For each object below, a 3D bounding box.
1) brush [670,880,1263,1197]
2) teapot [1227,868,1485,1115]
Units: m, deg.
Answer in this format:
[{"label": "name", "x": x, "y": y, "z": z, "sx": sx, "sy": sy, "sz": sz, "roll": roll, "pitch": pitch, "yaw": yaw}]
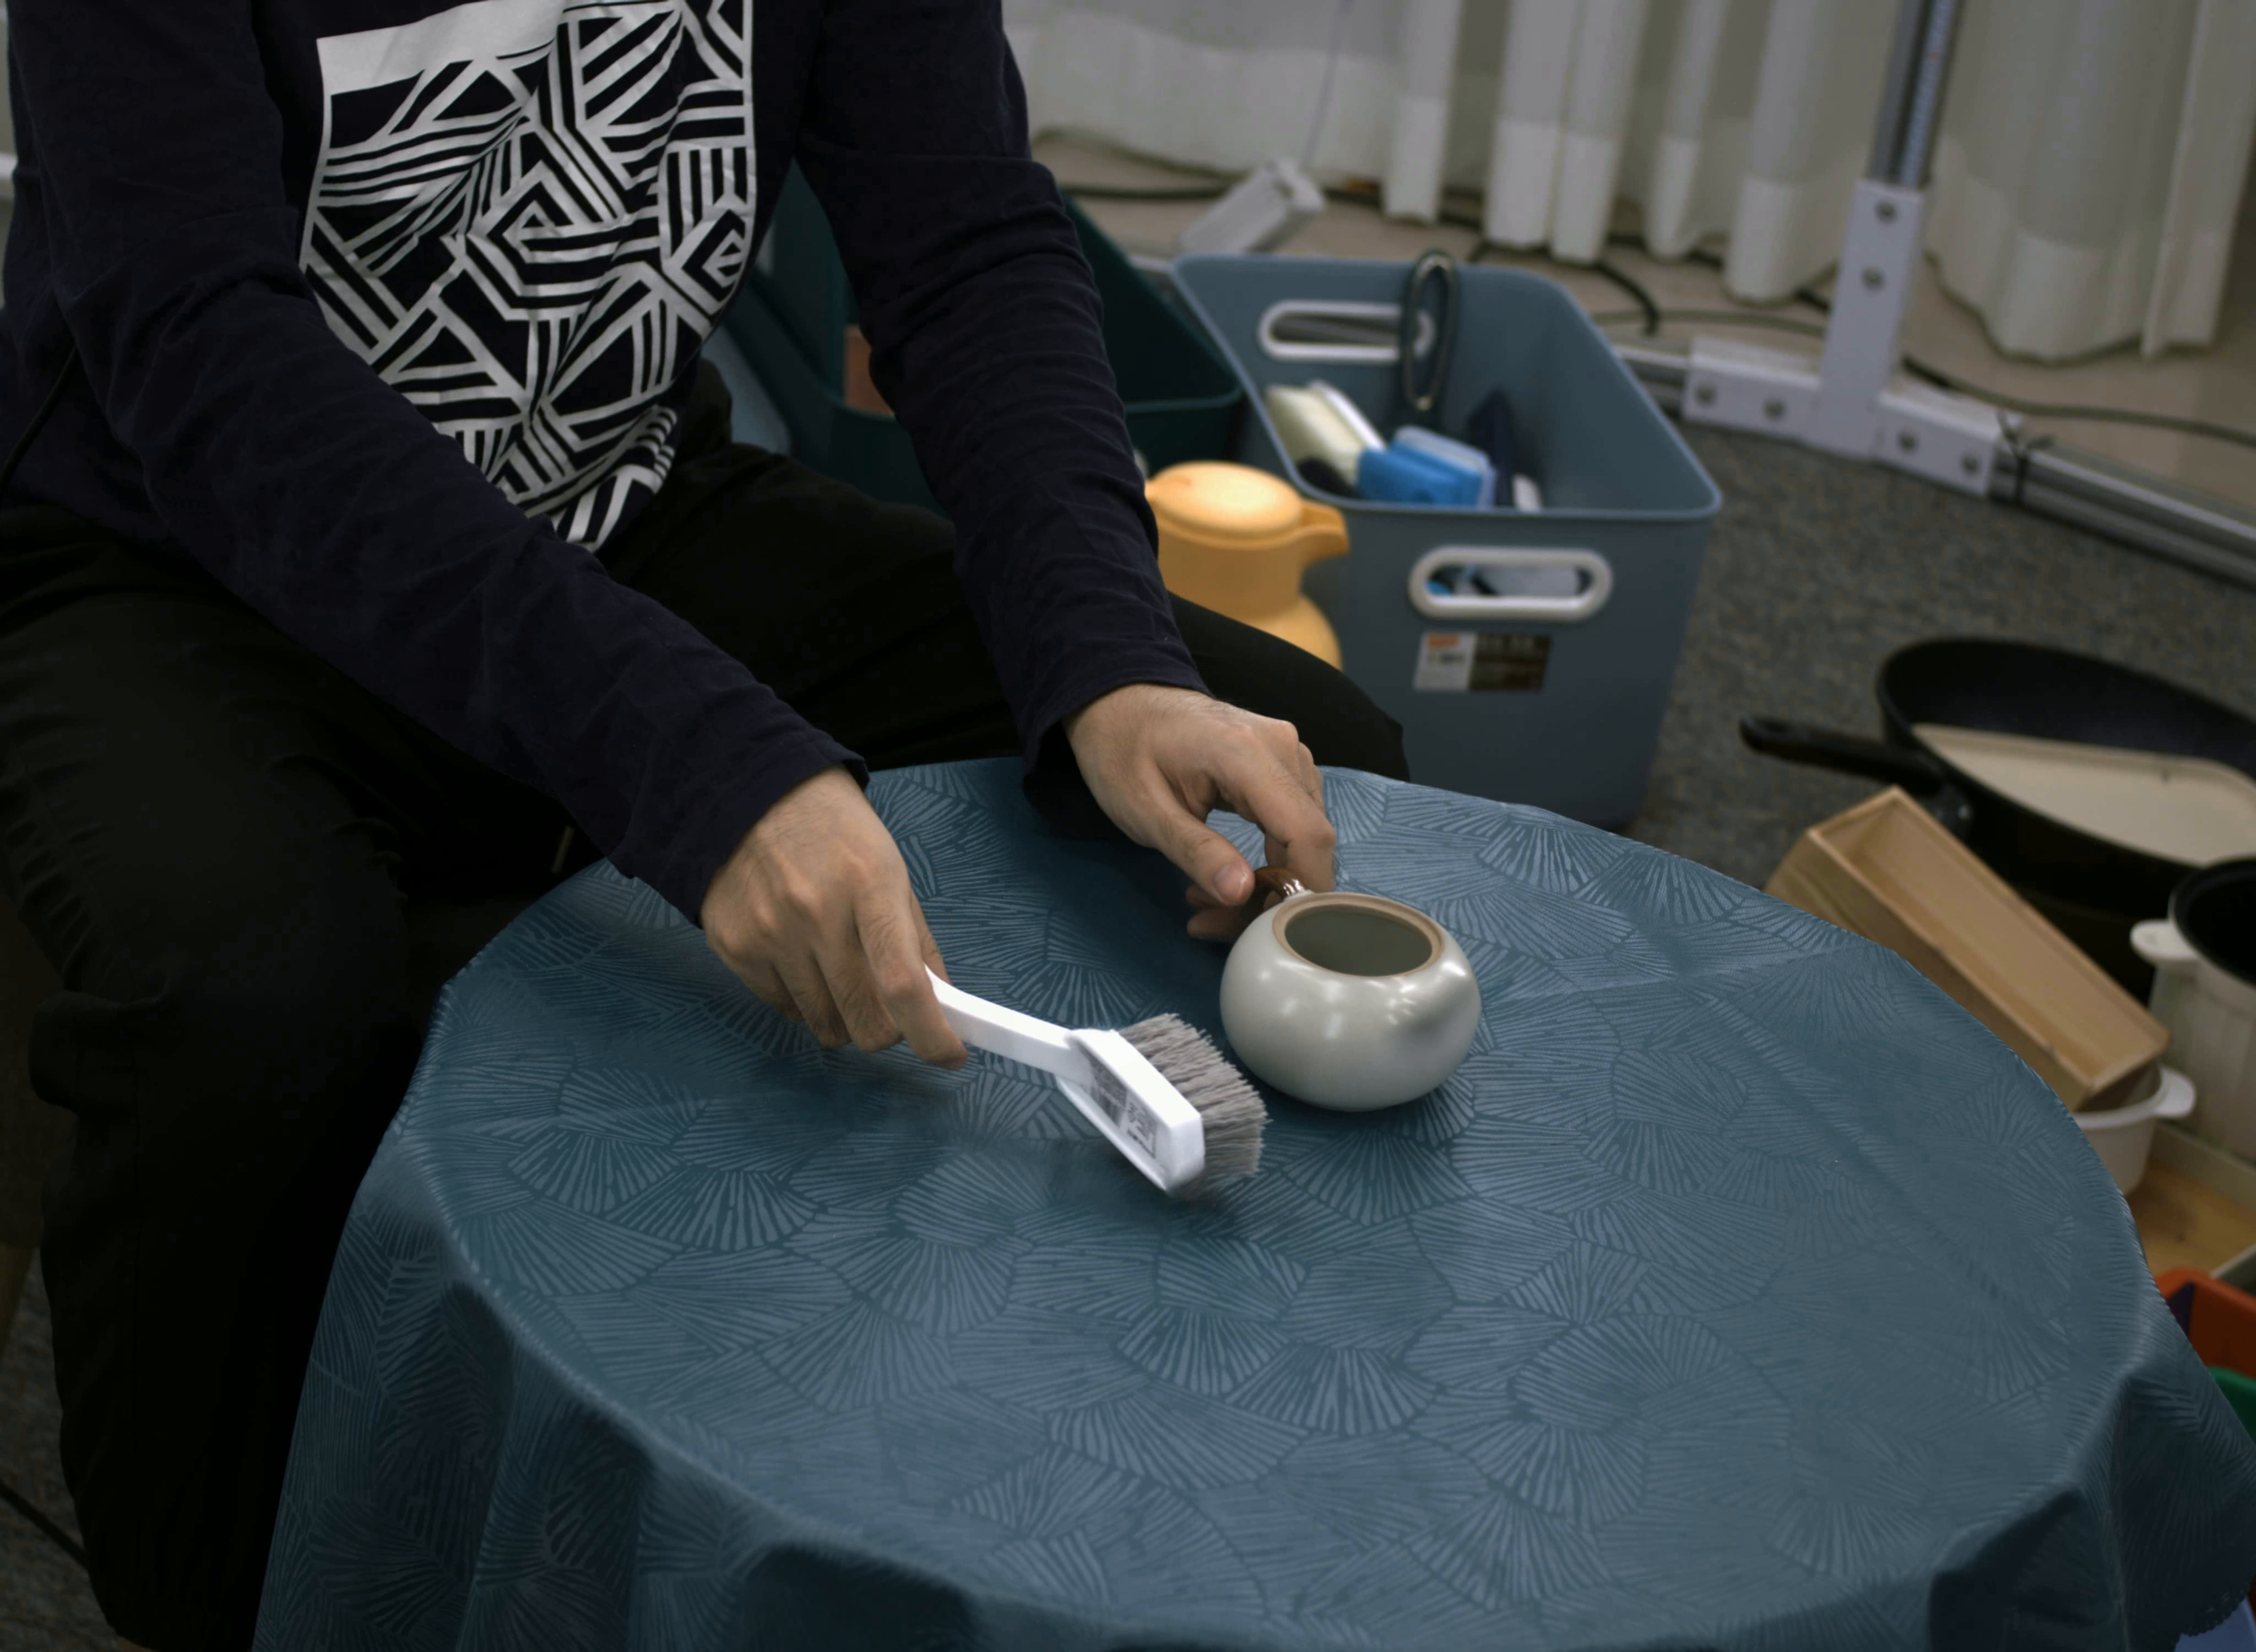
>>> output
[{"label": "brush", "x": -0.055, "y": 0.063, "z": 1.845, "sx": 0.245, "sy": 0.034, "sz": 0.050, "roll": 25, "pitch": 39, "yaw": 30}, {"label": "teapot", "x": 0.075, "y": 0.059, "z": 1.888, "sx": 0.091, "sy": 0.059, "sz": 0.129, "roll": -14, "pitch": 34, "yaw": -30}]
